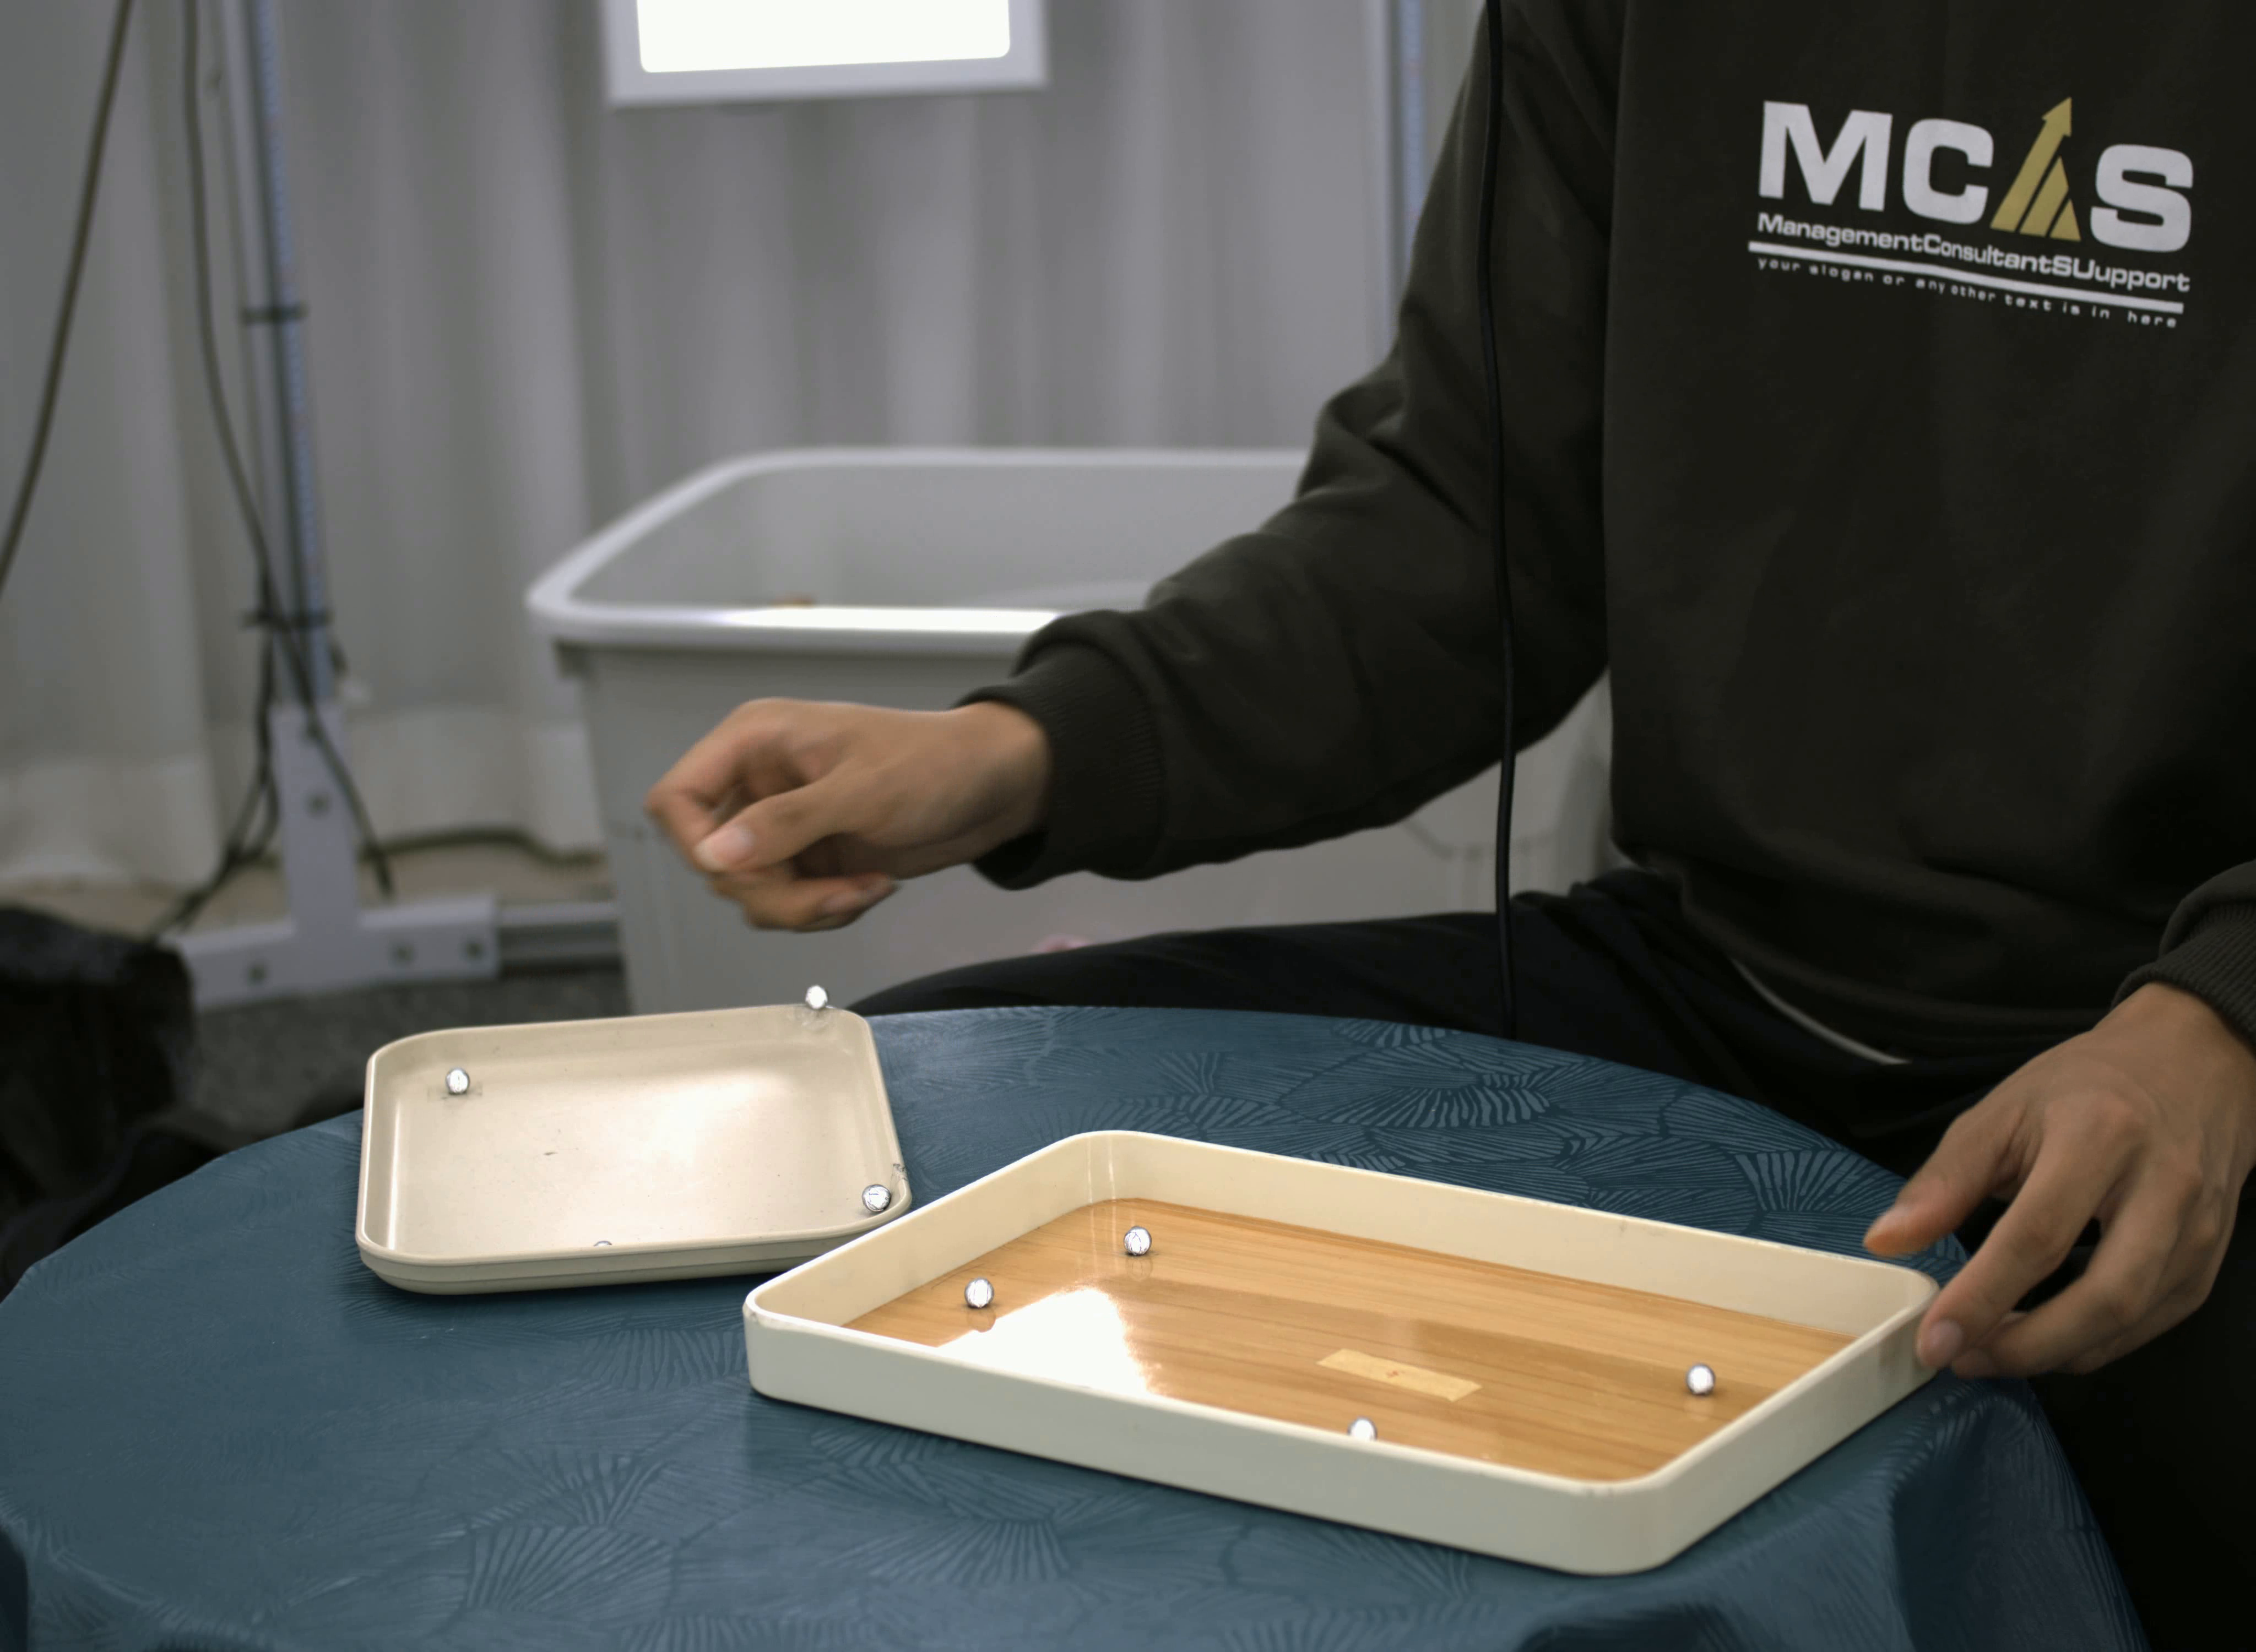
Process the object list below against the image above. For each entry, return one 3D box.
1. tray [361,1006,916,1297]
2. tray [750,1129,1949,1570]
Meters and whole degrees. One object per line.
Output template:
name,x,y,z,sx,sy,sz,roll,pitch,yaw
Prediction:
tray,-0.159,0.103,1.755,0.170,0.017,0.241,-5,15,-6
tray,0.062,0.144,1.548,0.301,0.027,0.191,8,18,34
